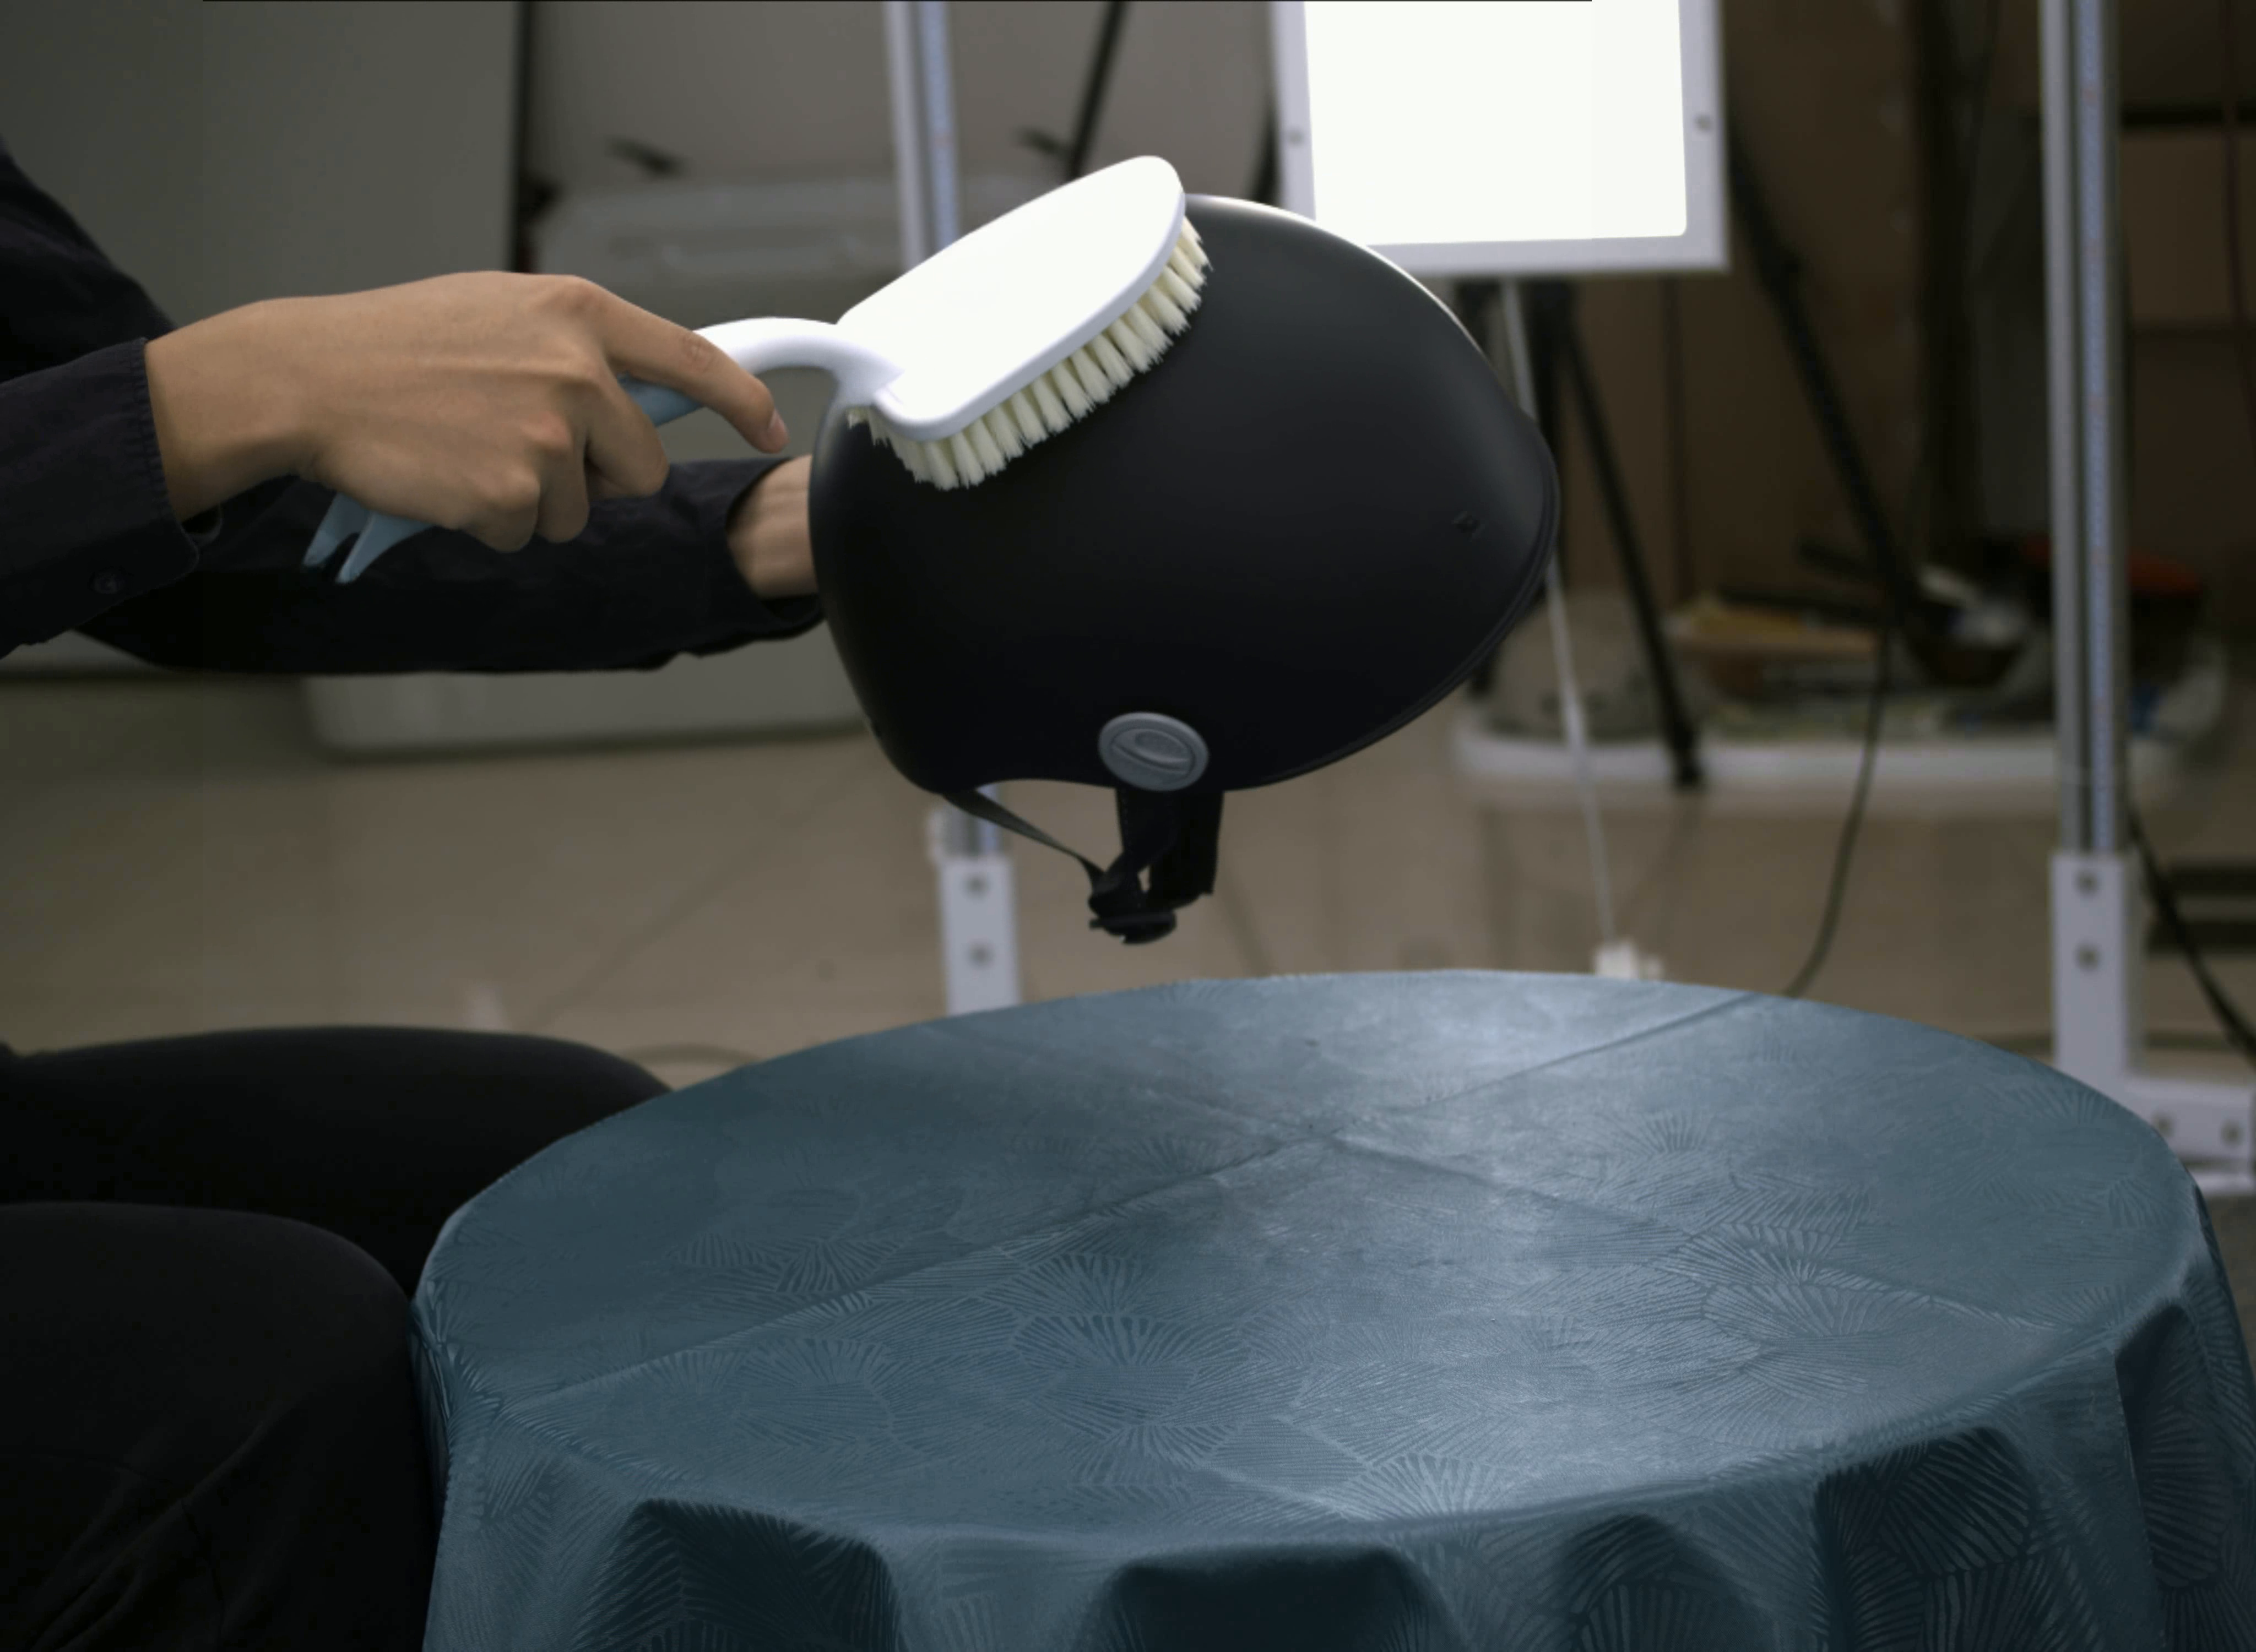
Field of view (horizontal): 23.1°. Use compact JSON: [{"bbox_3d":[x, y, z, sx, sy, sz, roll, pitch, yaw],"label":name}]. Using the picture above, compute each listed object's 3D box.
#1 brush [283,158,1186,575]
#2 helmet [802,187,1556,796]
[{"bbox_3d":[-0.124,-0.130,1.796,0.320,0.084,0.084,-25,9,-17],"label":"brush"},{"bbox_3d":[-0.001,-0.129,1.912,0.279,0.165,0.227,0,51,39],"label":"helmet"}]
